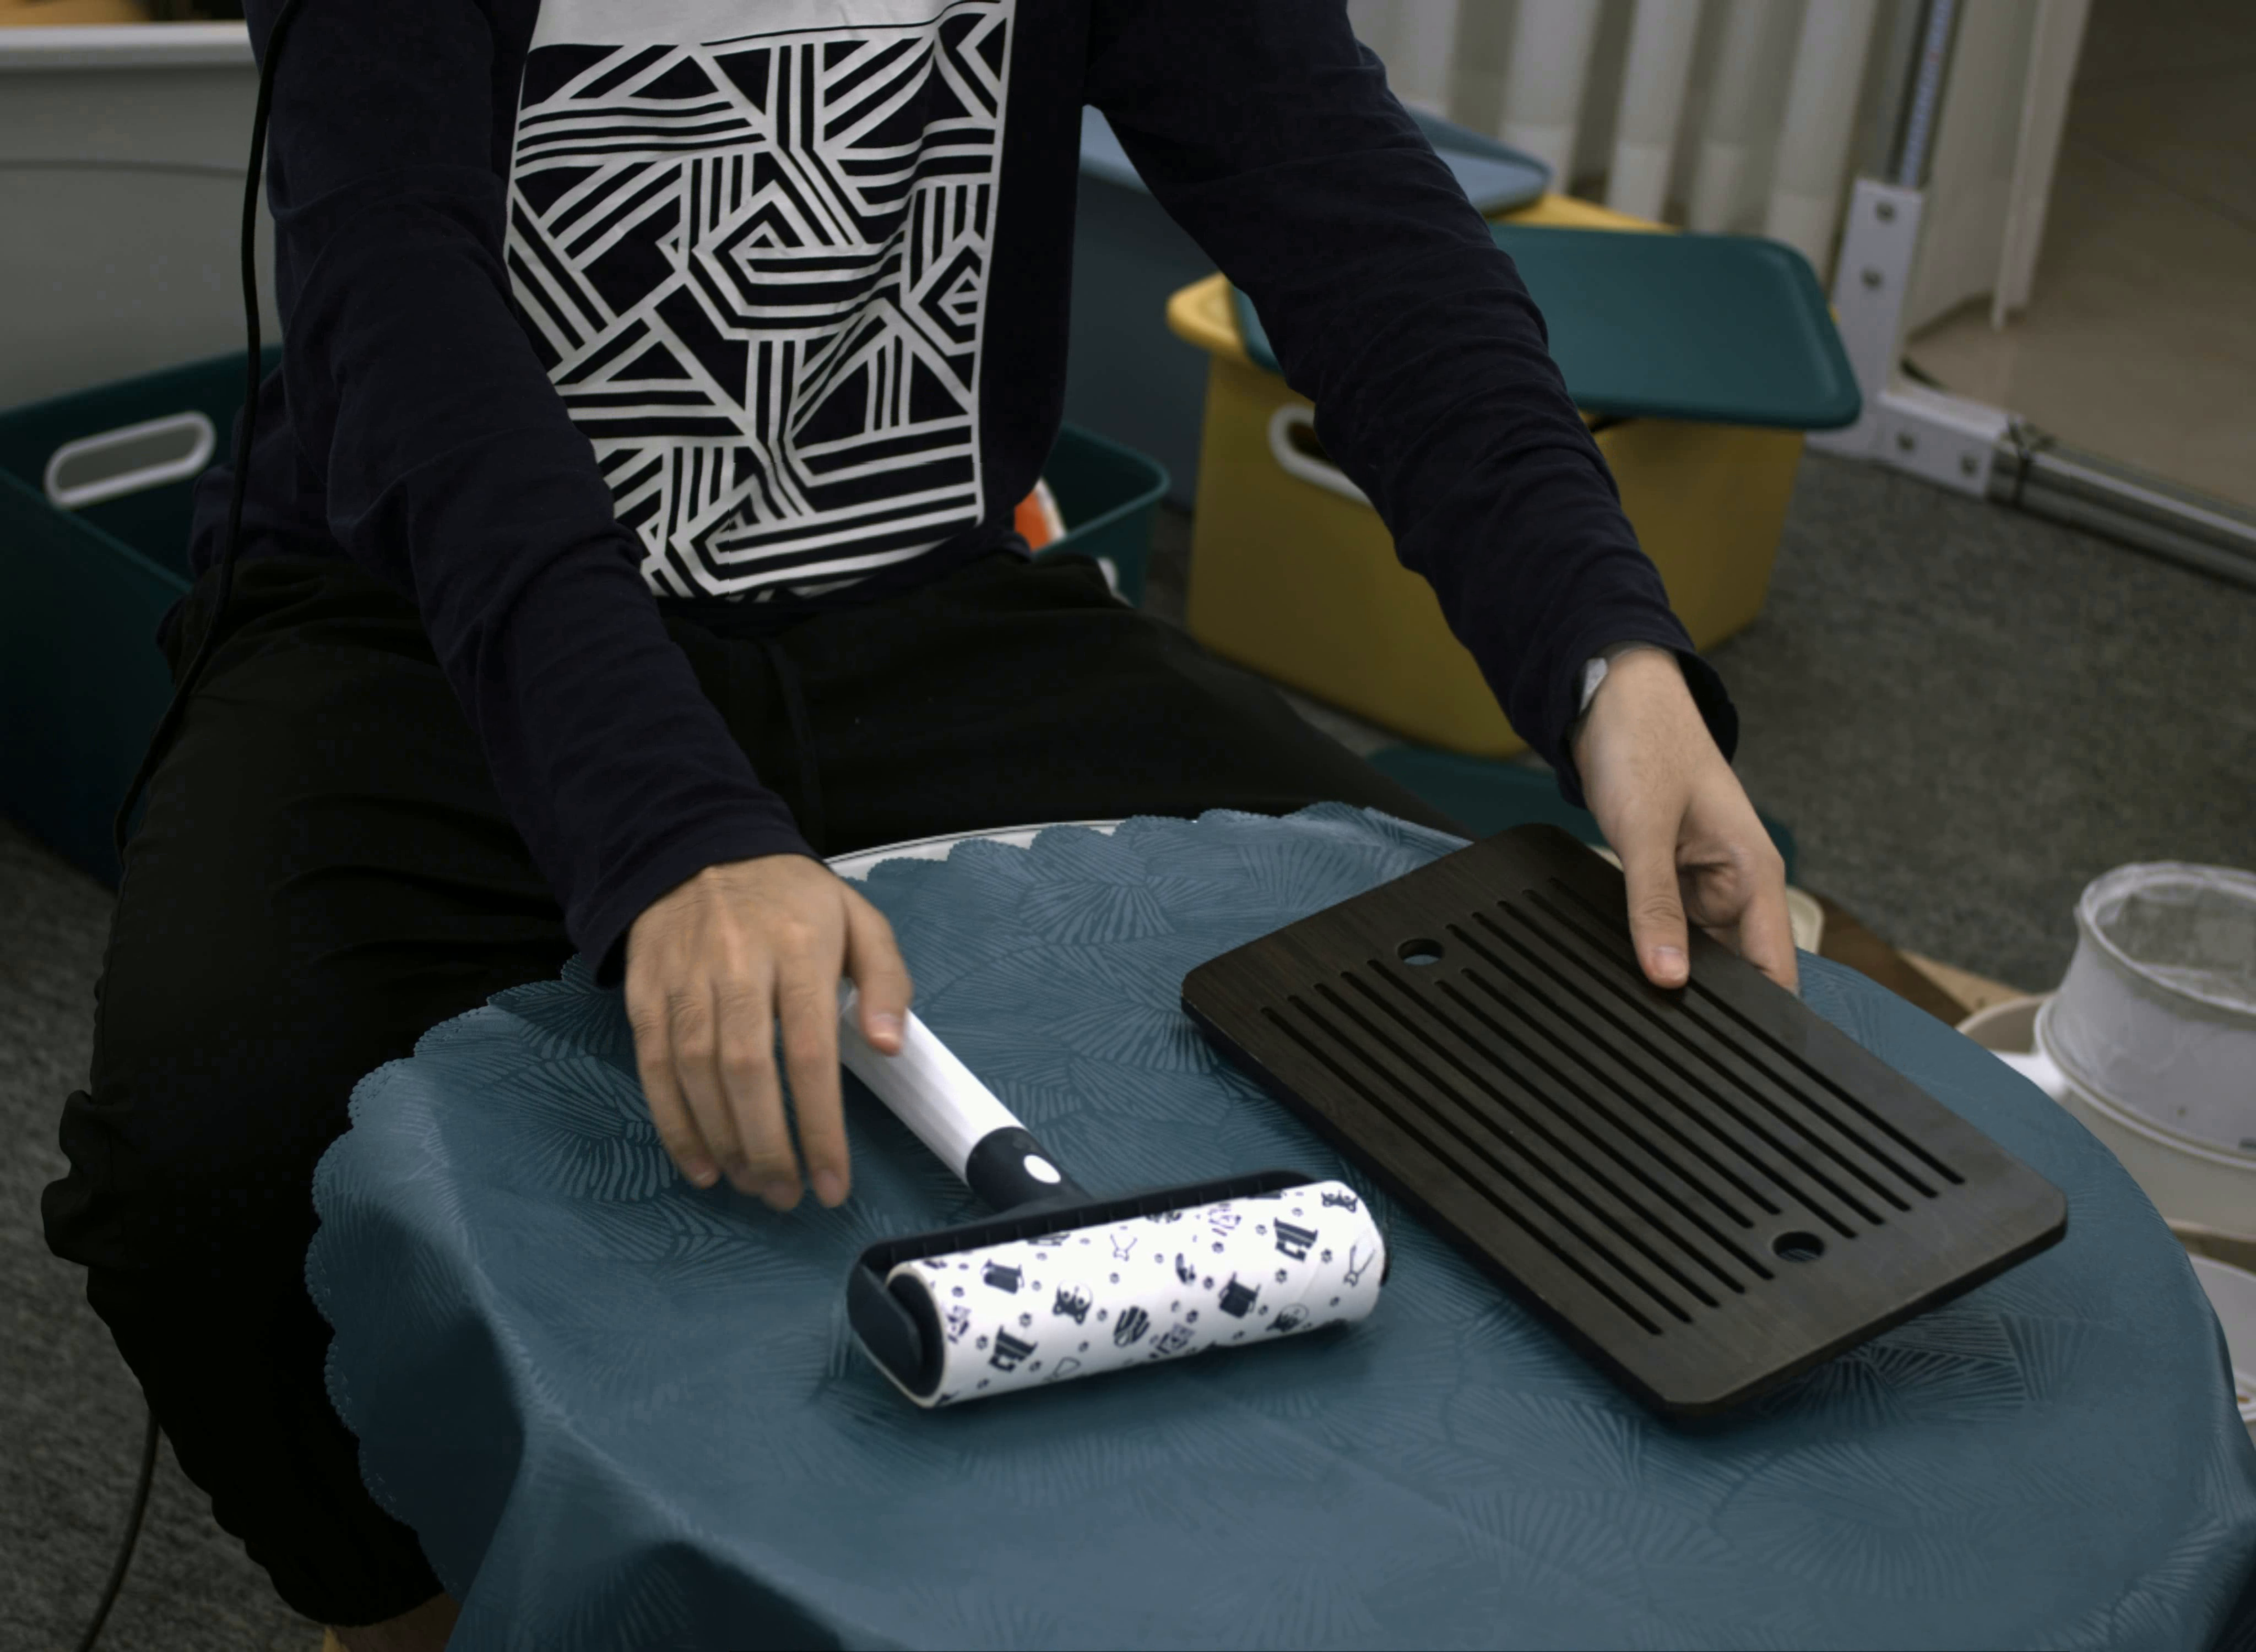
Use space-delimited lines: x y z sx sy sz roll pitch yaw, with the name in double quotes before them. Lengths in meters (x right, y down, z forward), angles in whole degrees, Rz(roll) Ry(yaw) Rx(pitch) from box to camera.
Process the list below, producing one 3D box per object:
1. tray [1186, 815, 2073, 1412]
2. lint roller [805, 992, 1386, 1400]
"tray" 0.167 0.095 1.839 0.169 0.018 0.309 -23 37 -23
"lint roller" -0.049 0.107 1.783 0.175 0.050 0.249 -10 28 -28
